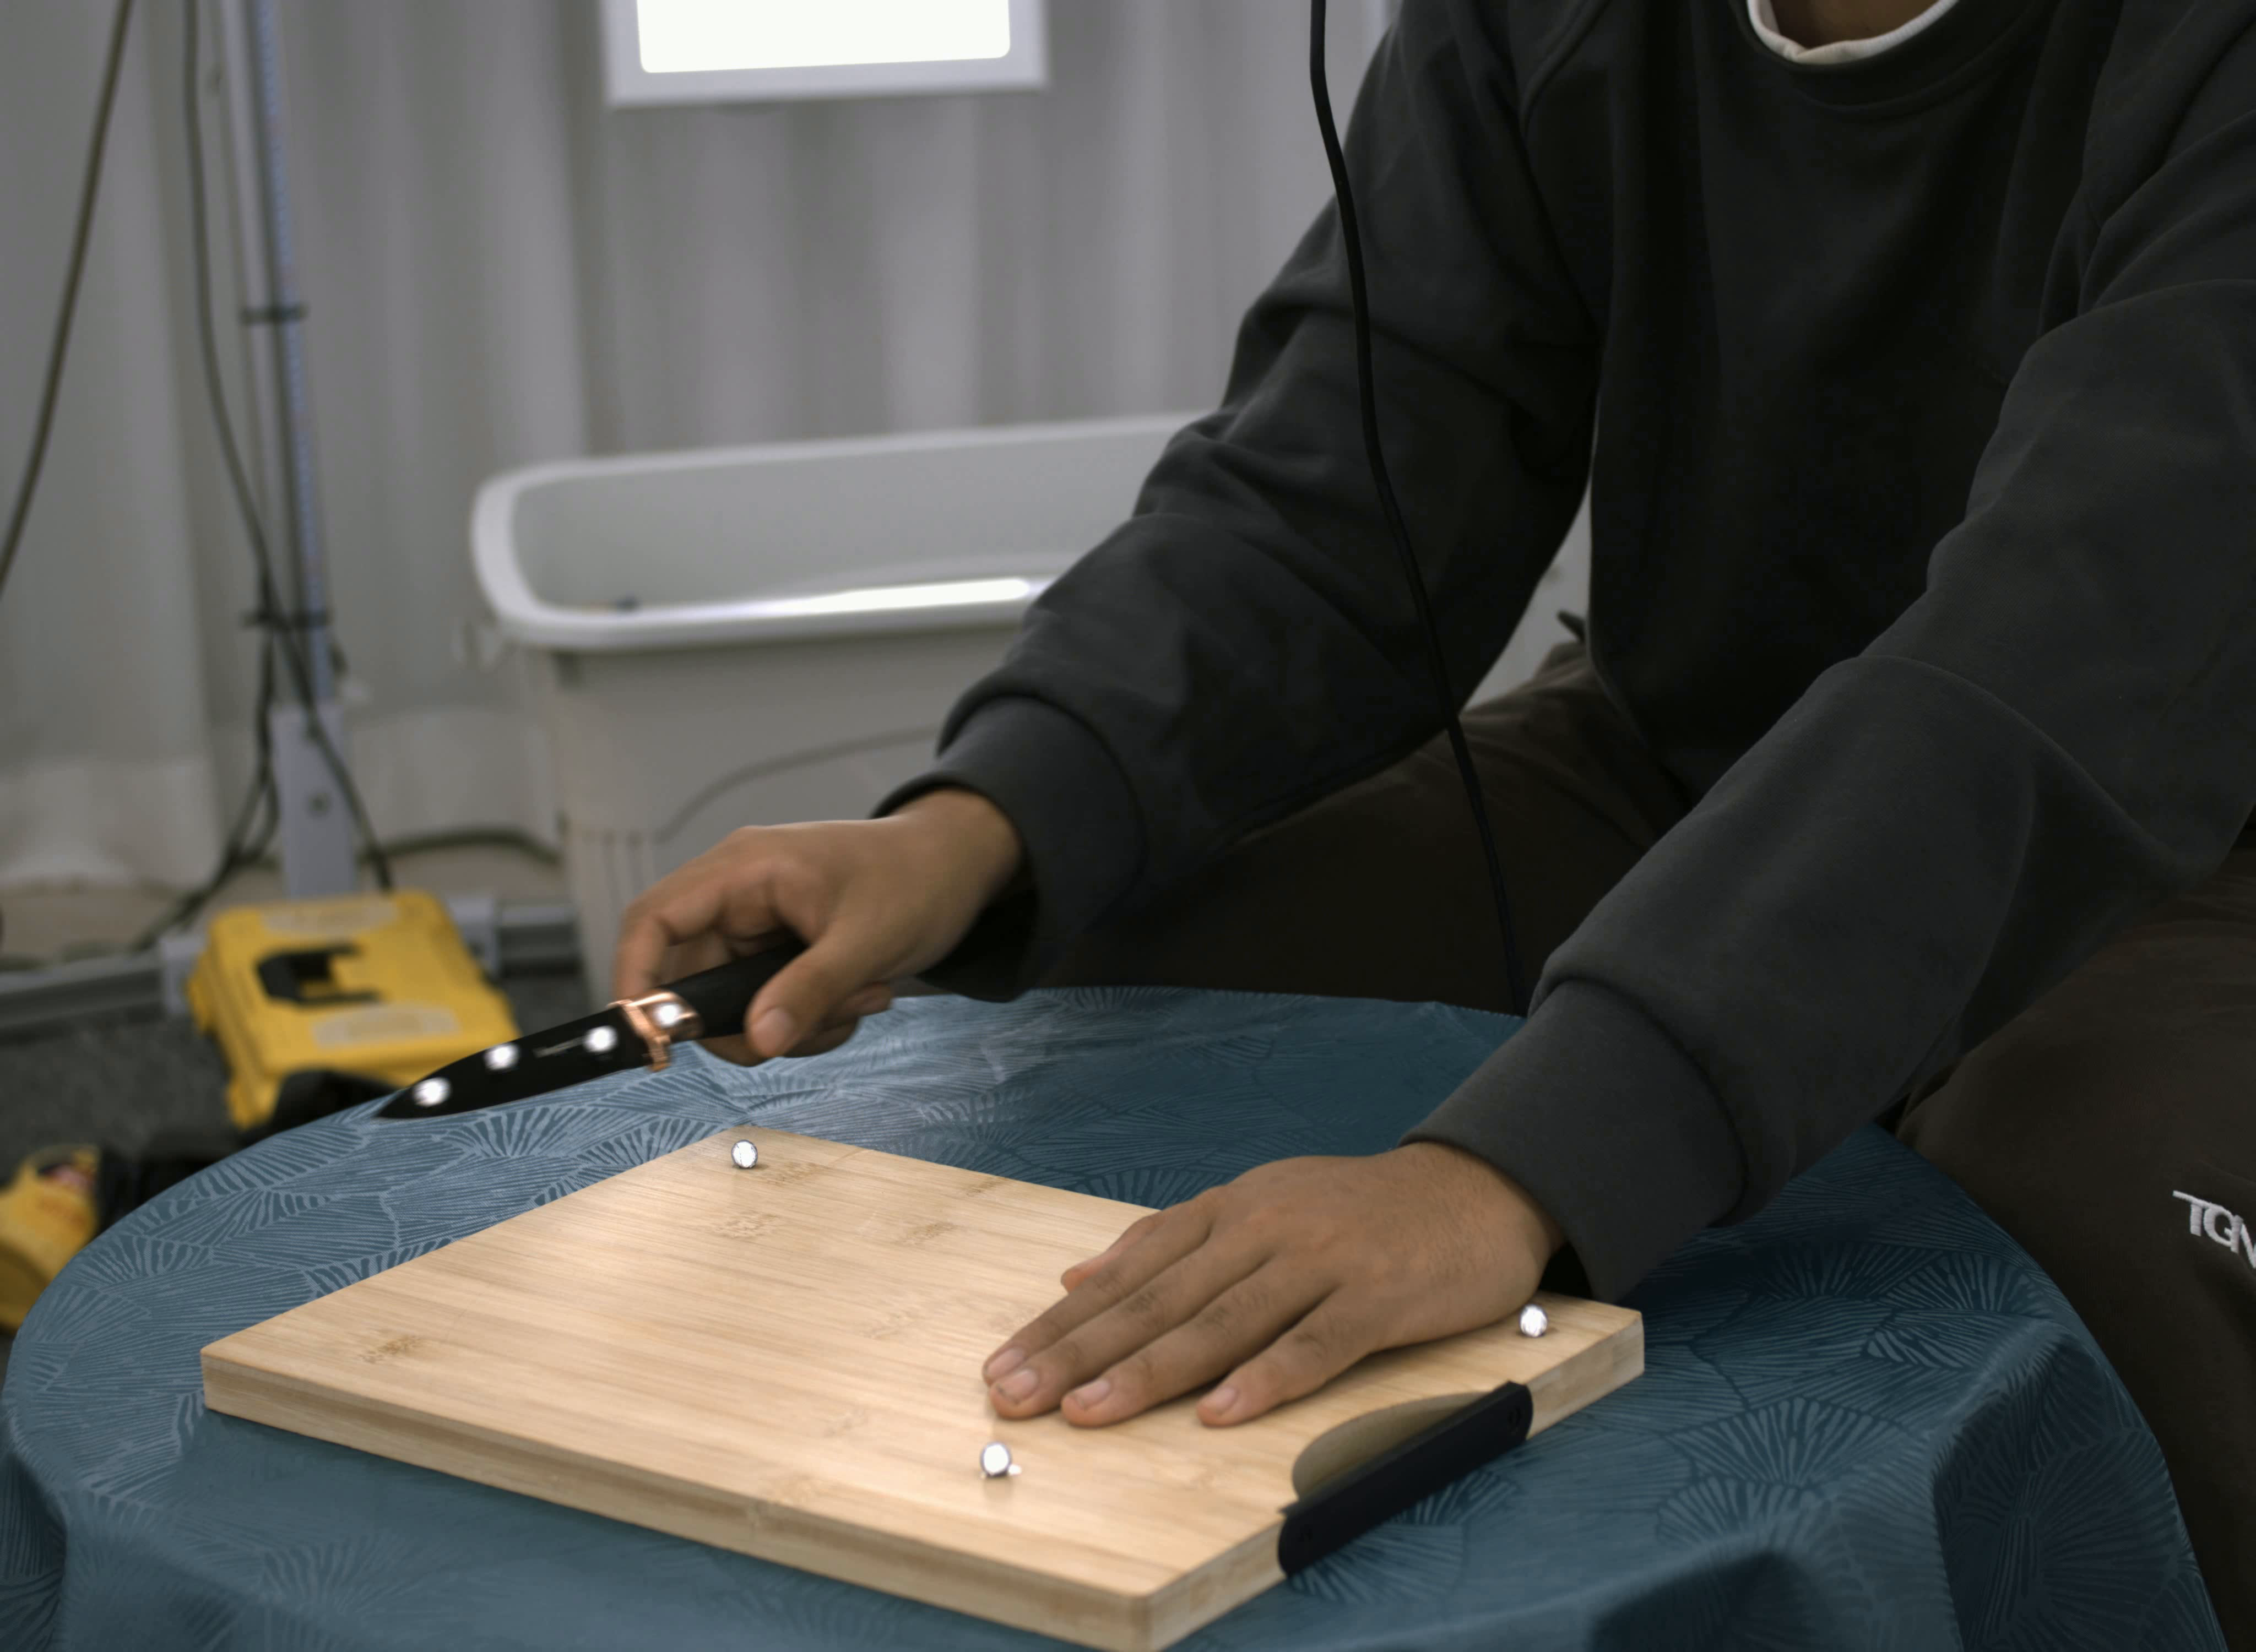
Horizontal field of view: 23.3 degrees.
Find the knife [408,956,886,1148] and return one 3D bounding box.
[{"bbox_3d":[-0.148,0.069,1.697,0.225,0.026,0.017,-16,-25,-52],"label":"knife"}]

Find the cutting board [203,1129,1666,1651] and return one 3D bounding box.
[{"bbox_3d":[-0.056,0.154,1.549,0.350,0.023,0.250,8,19,36],"label":"cutting board"}]
